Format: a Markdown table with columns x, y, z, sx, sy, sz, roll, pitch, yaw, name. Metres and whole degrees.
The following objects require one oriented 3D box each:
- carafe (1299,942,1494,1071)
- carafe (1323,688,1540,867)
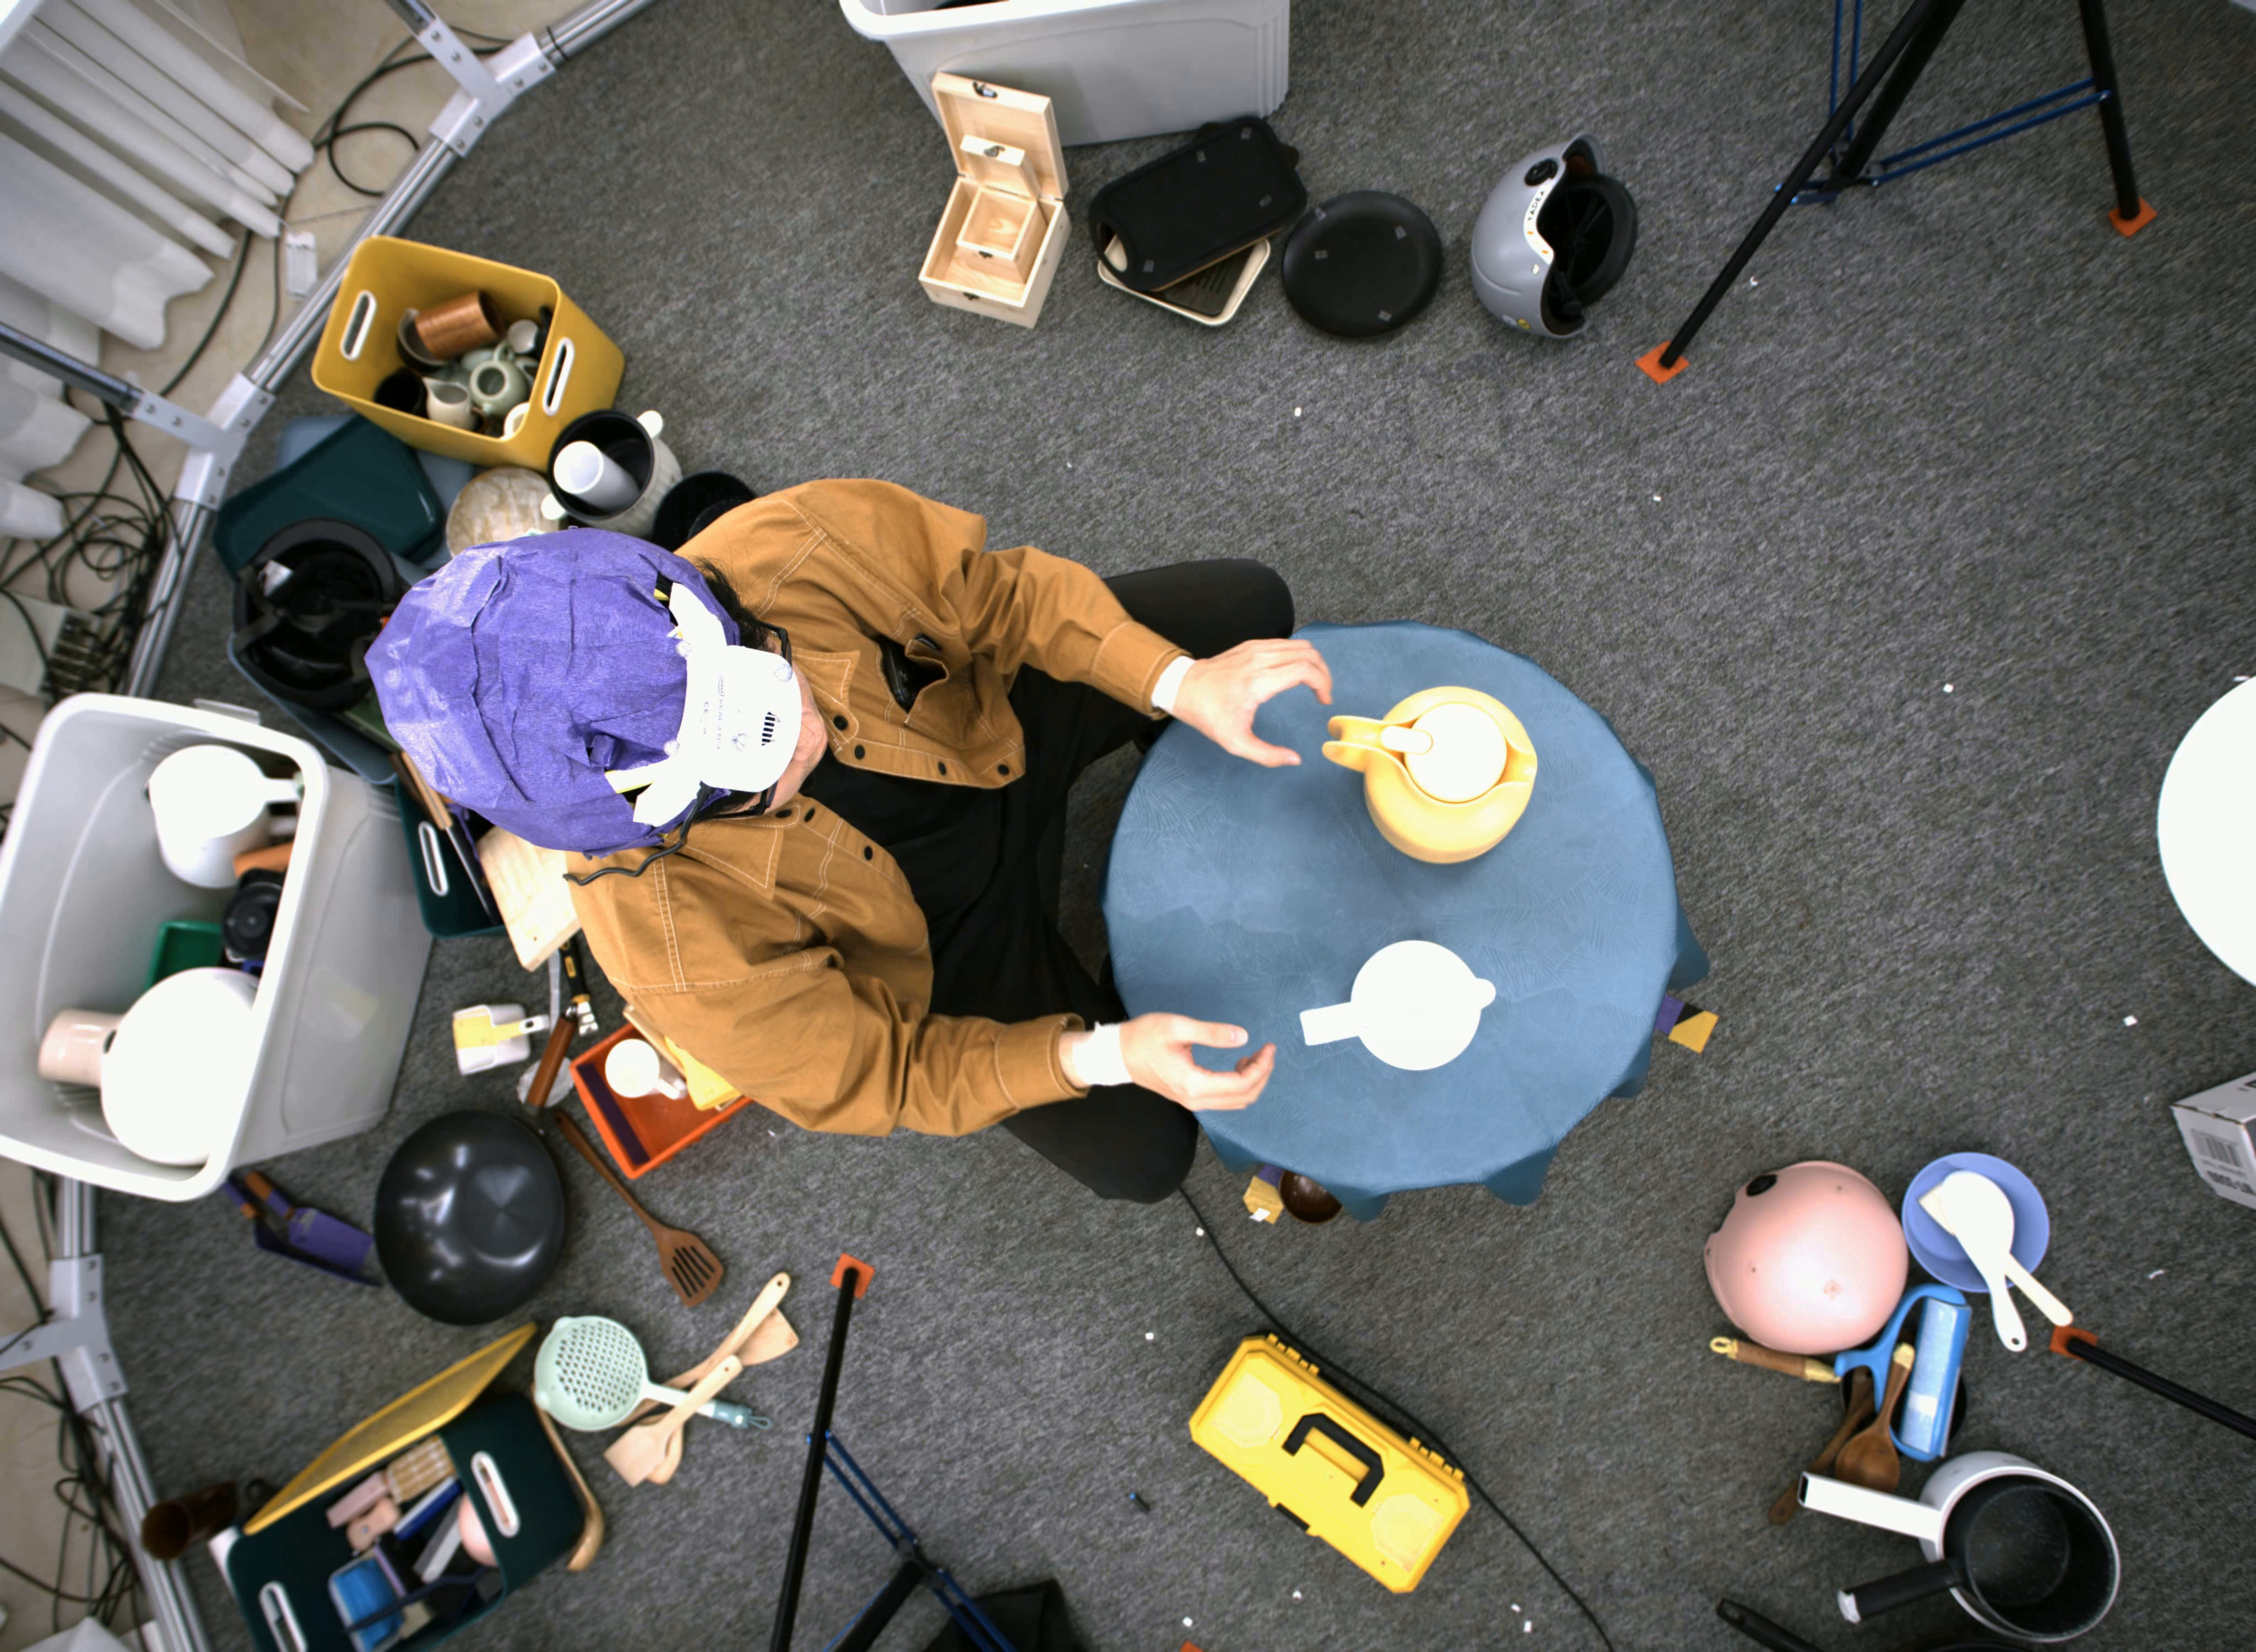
| x | y | z | sx | sy | sz | roll | pitch | yaw | name |
| --- | --- | --- | --- | --- | --- | --- | --- | --- | --- |
| 0.255 | 0.175 | 1.323 | 0.174 | 0.269 | 0.123 | -14 | 84 | 9 | carafe |
| 0.290 | -0.059 | 1.330 | 0.202 | 0.261 | 0.163 | 17 | 85 | 10 | carafe |
